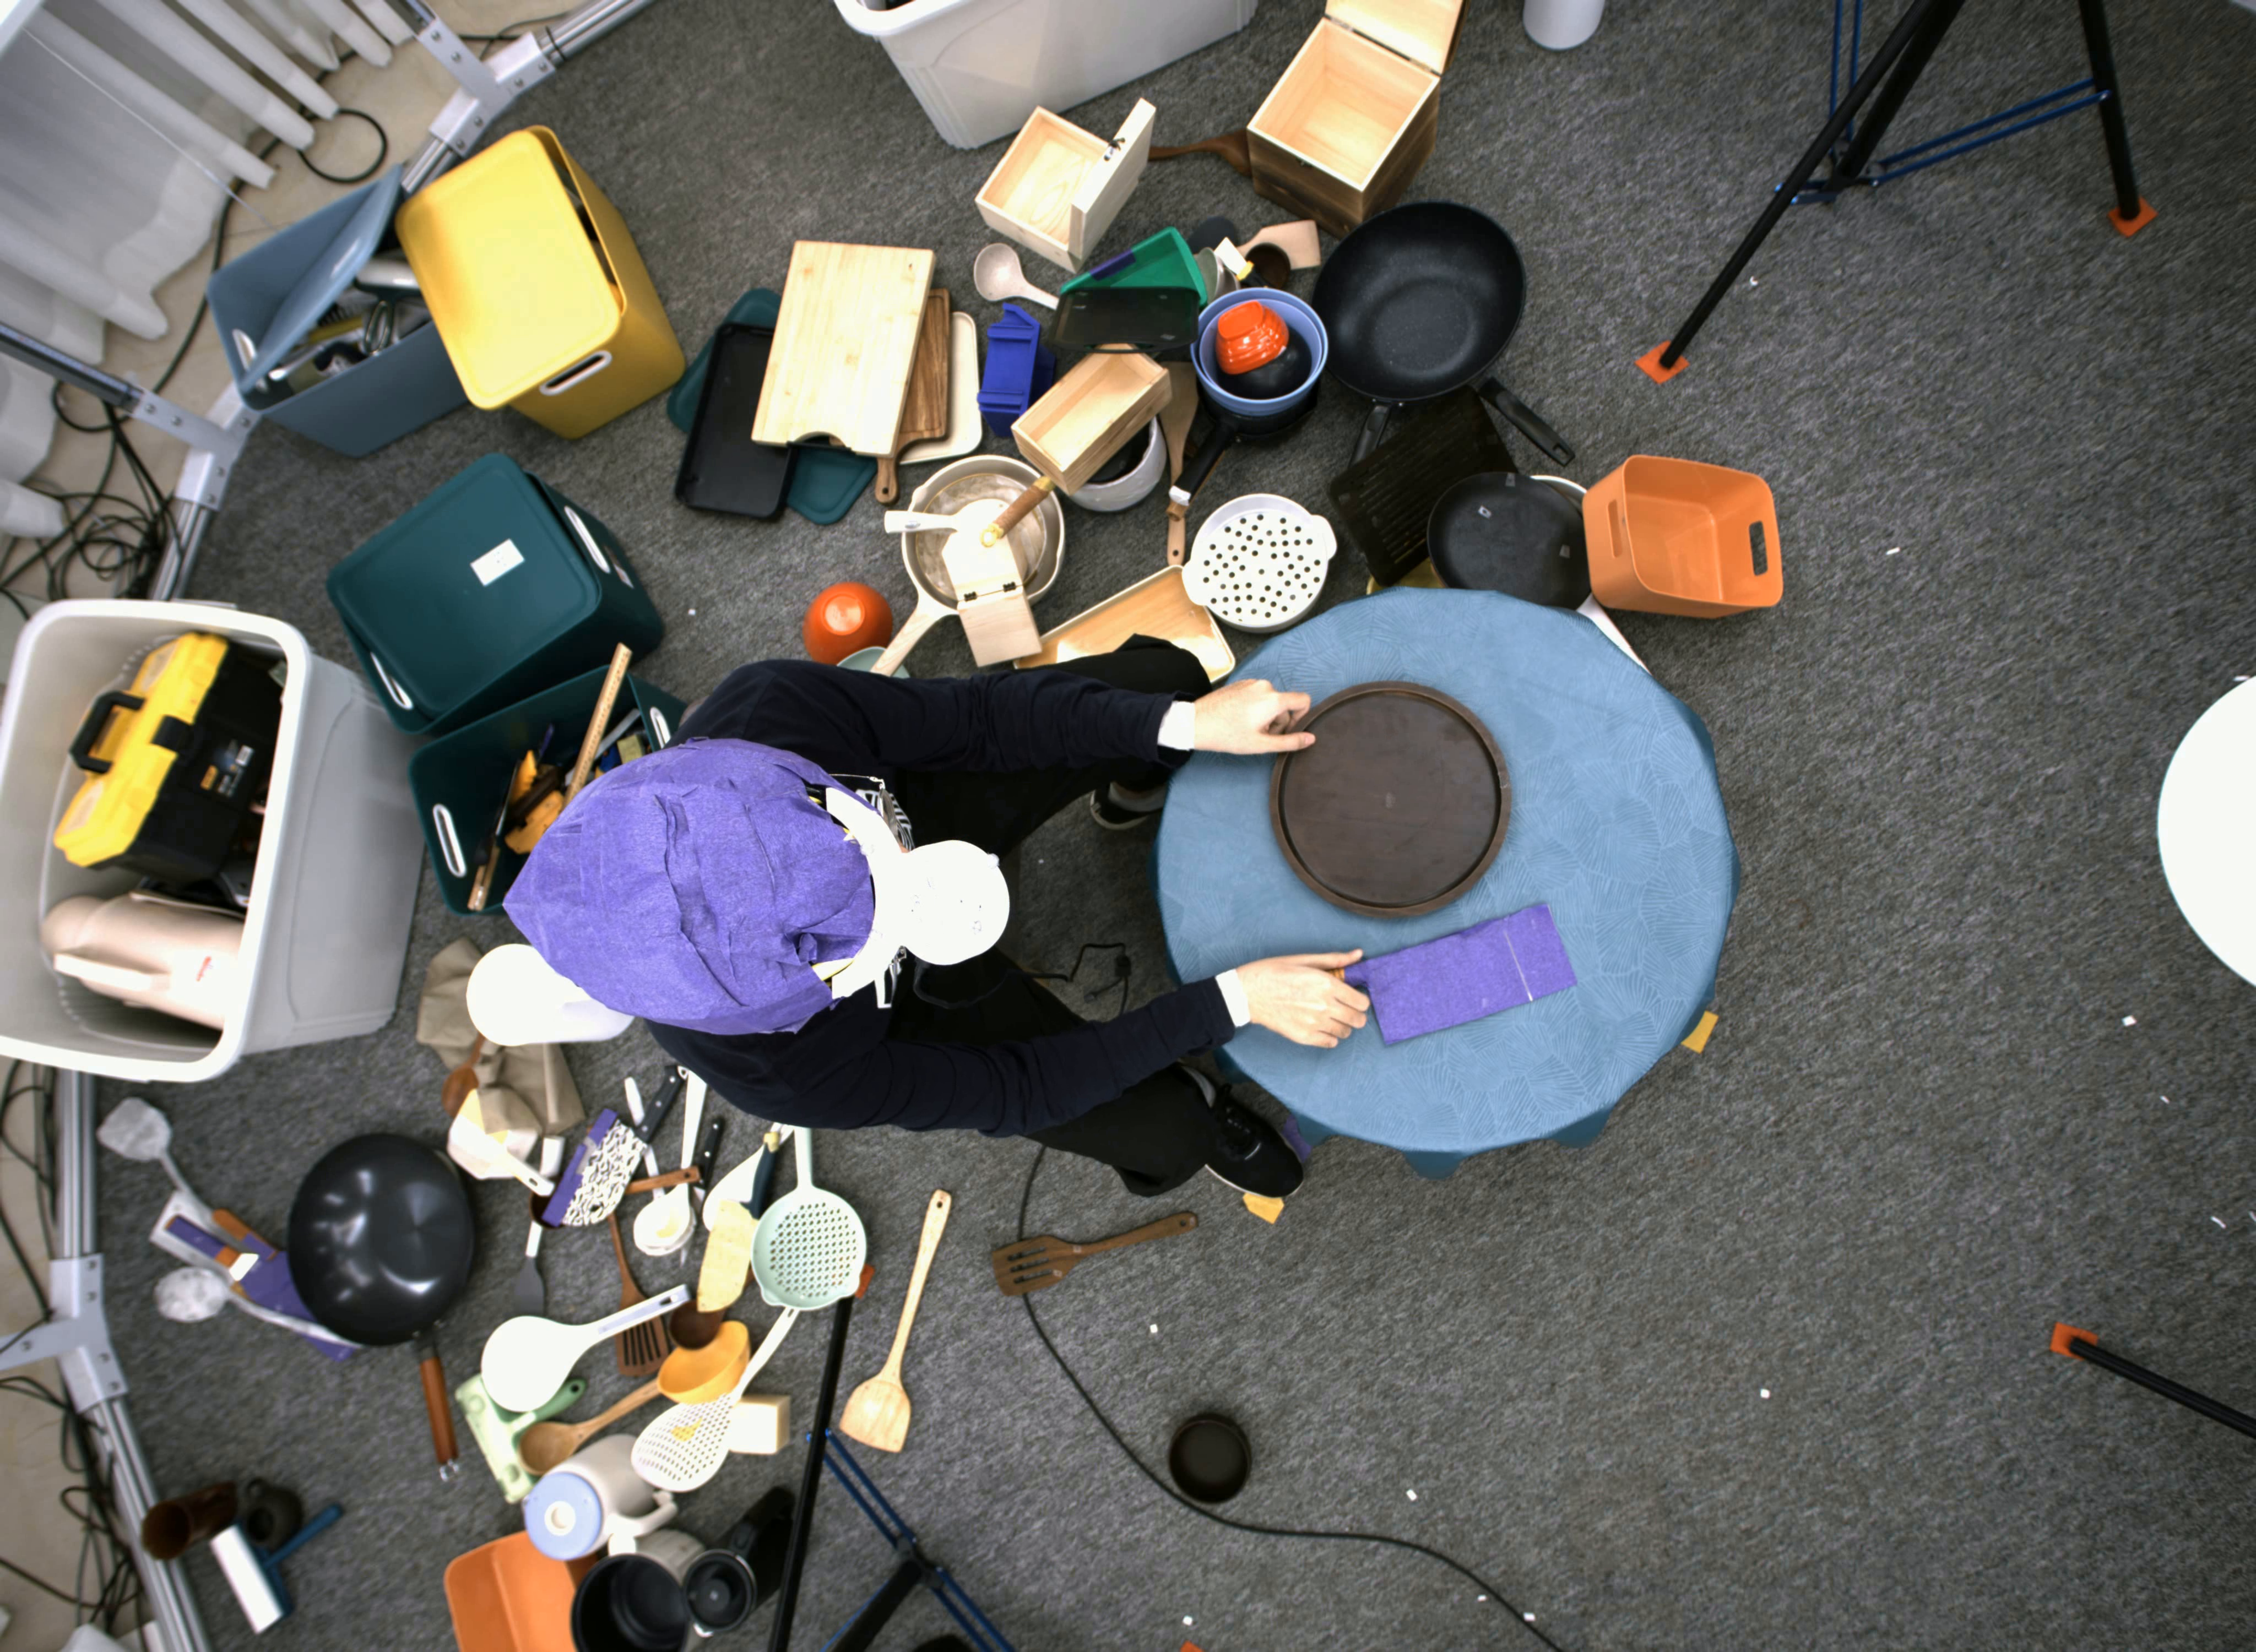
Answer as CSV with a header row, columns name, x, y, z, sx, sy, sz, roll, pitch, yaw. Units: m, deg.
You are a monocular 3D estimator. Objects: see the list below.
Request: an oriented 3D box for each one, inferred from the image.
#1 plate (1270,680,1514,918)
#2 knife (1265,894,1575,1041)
name,x,y,z,sx,sy,sz,roll,pitch,yaw
plate,0.276,-0.031,1.452,0.256,0.029,0.253,-1,86,10
knife,0.304,0.166,1.435,0.317,0.032,0.103,-20,83,8
